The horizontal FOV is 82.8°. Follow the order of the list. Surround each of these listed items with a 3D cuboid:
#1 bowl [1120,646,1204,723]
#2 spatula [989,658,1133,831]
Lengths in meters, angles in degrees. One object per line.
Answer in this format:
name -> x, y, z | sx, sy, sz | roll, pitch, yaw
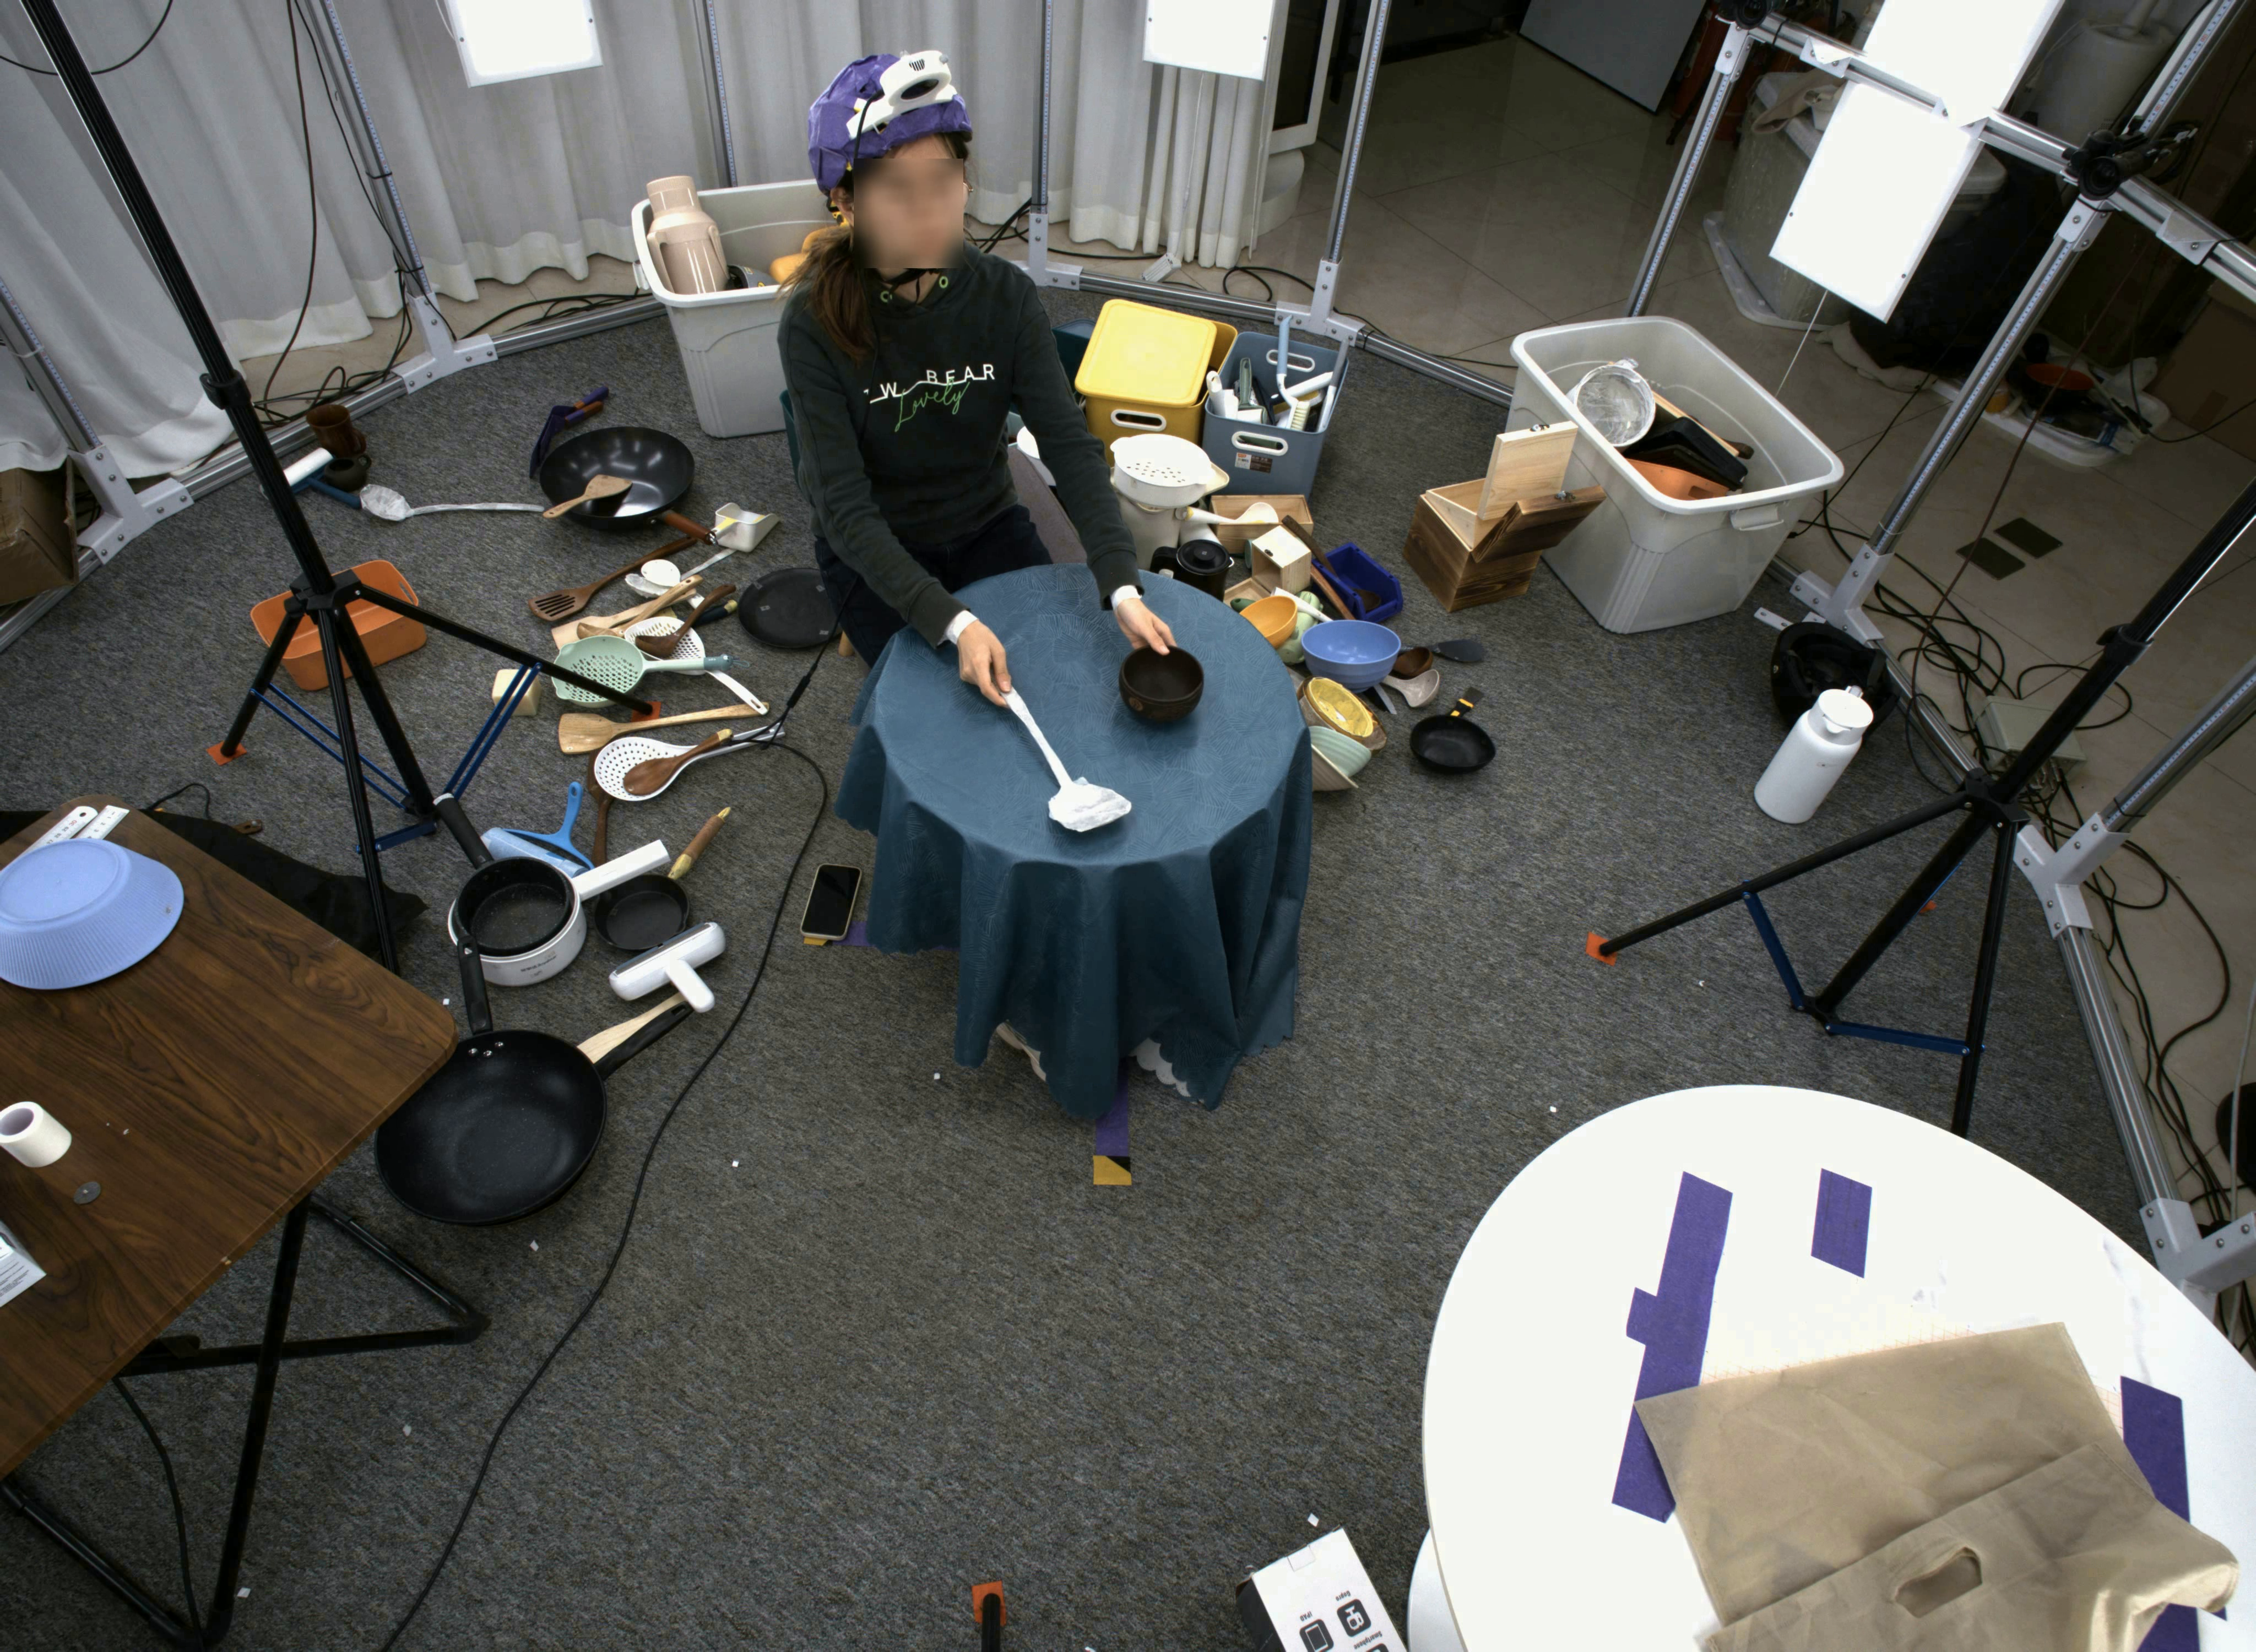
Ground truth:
bowl -> 0.046, -0.191, 1.808 | 0.118, 0.068, 0.121 | 3, 47, -3
spatula -> -0.114, -0.122, 1.751 | 0.099, 0.044, 0.372 | -21, 56, -19
